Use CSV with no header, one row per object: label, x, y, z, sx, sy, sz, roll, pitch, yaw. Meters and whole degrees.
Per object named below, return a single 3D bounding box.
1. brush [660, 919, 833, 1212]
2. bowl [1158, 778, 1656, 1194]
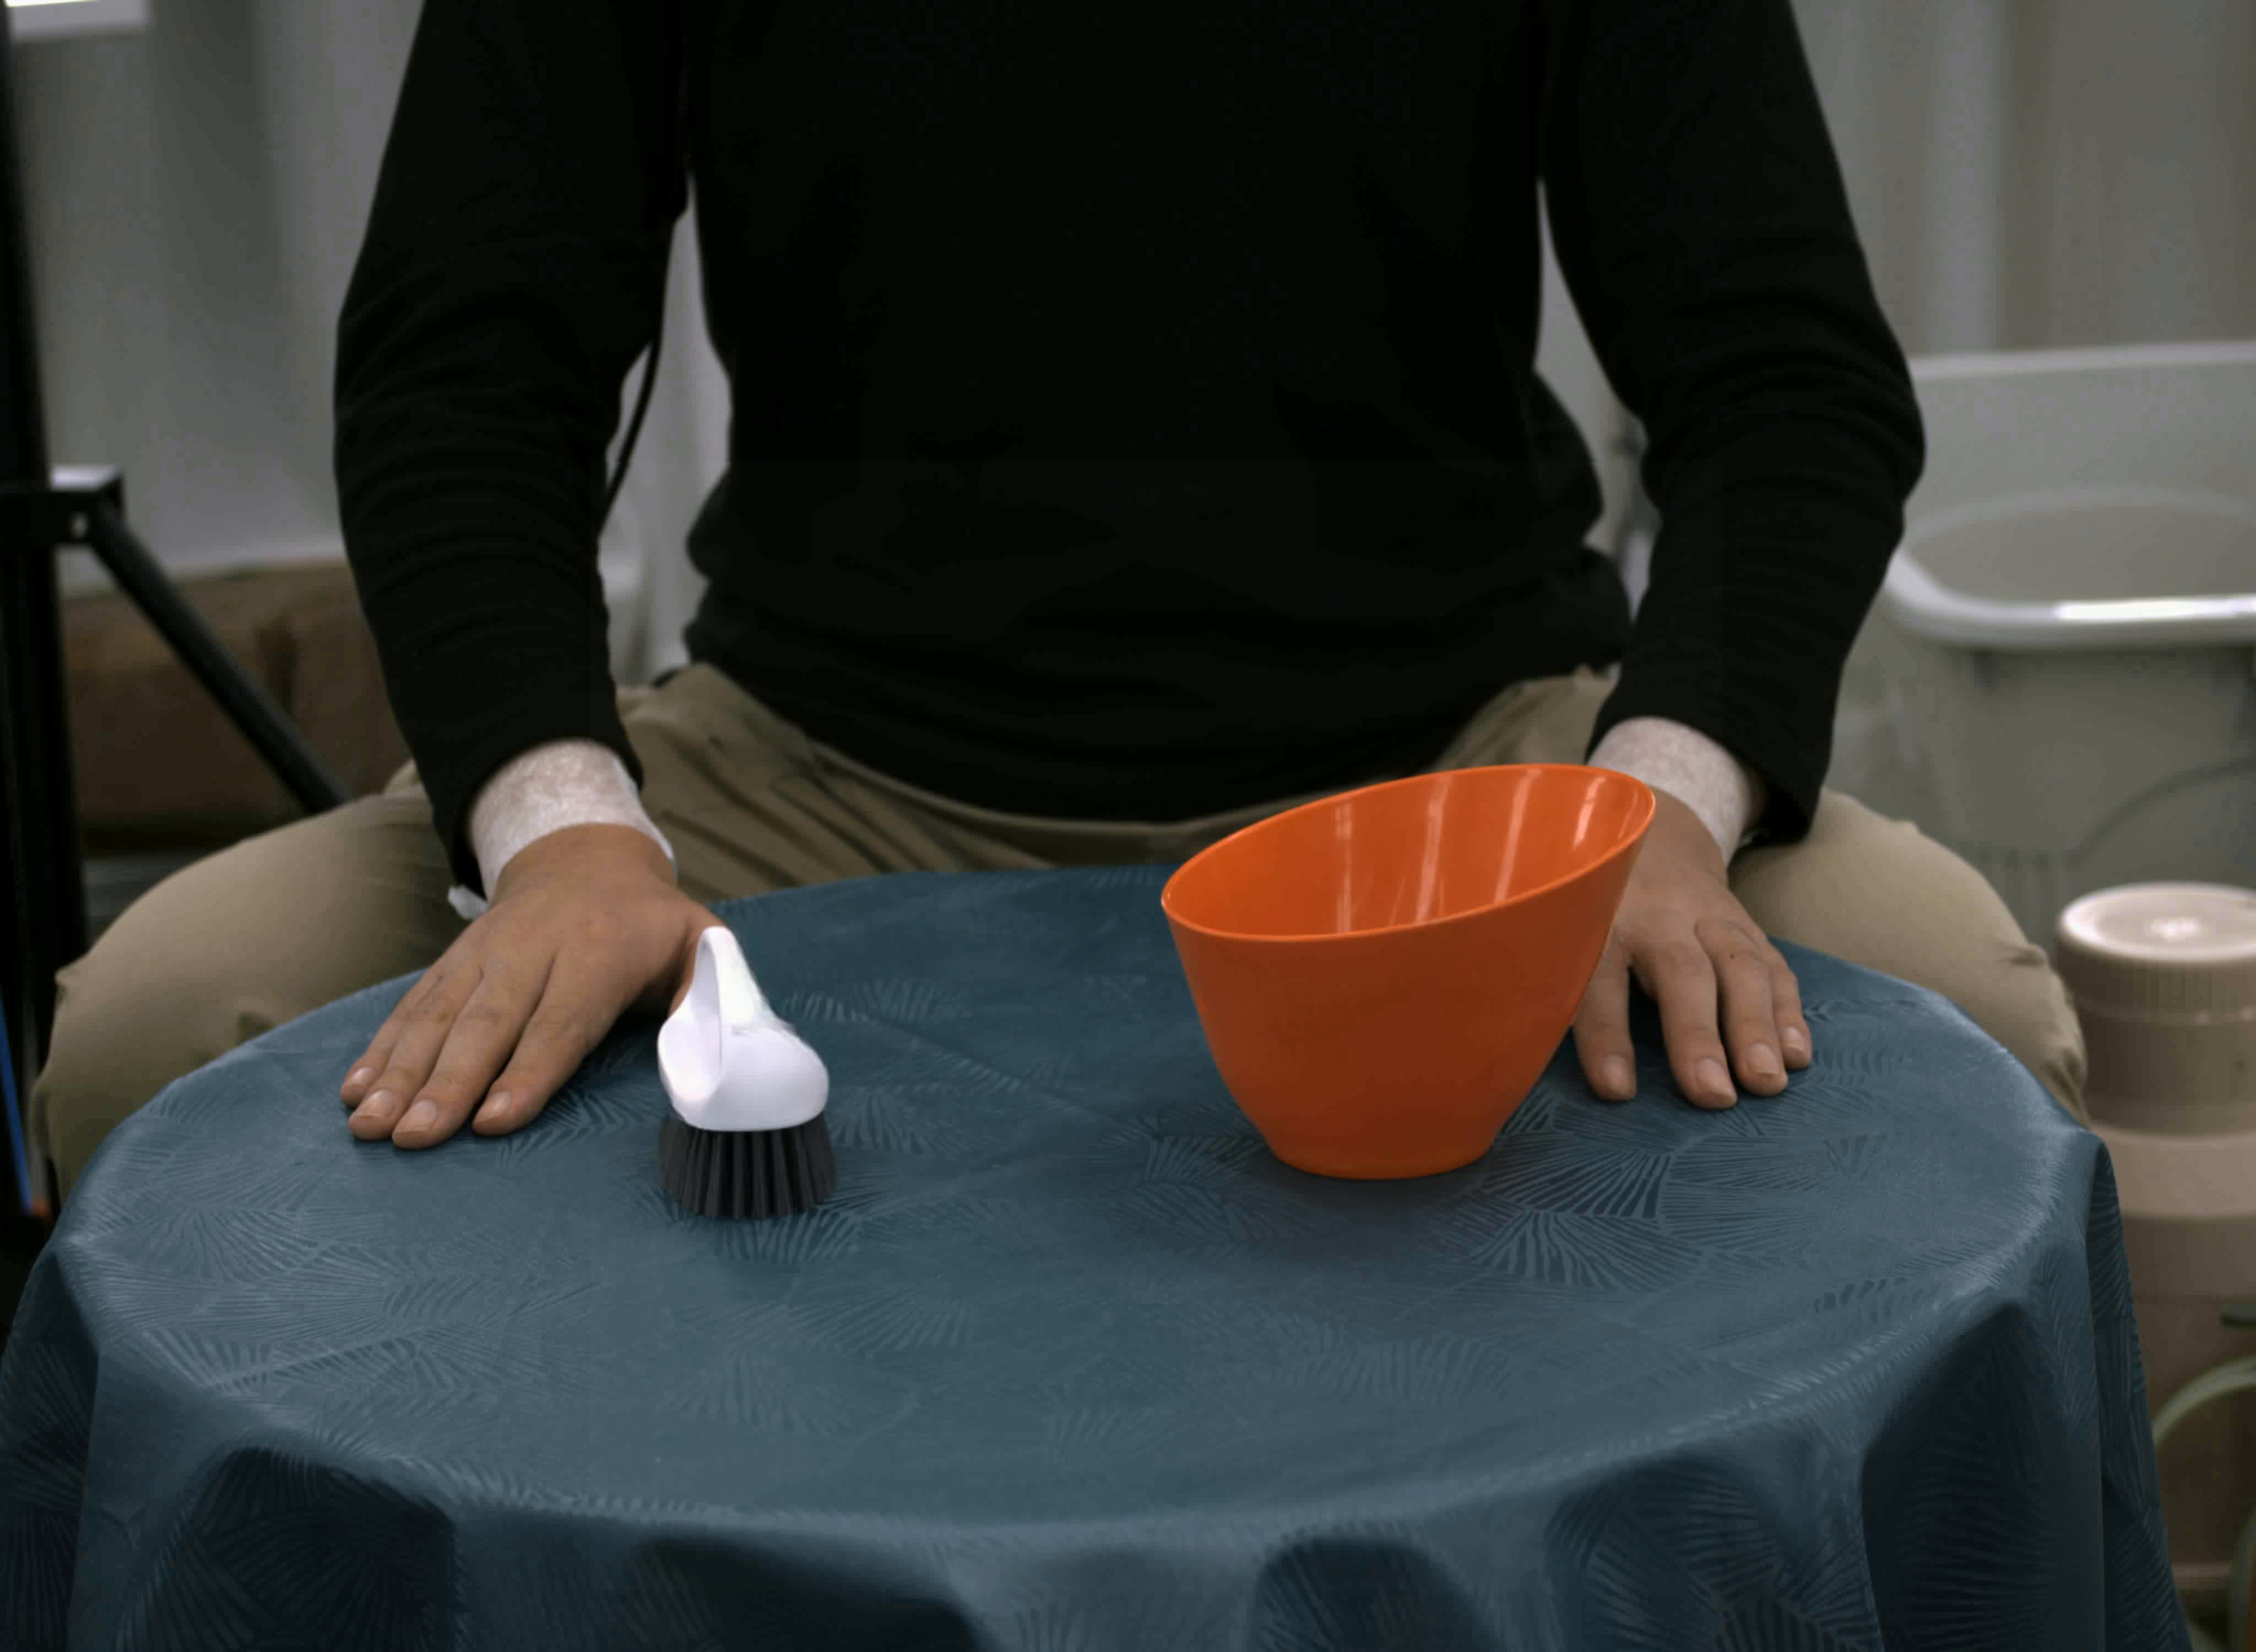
brush,-0.115,0.066,1.589,0.050,0.072,0.100,-4,15,-5
bowl,0.084,0.049,1.573,0.147,0.104,0.149,-3,14,-1
